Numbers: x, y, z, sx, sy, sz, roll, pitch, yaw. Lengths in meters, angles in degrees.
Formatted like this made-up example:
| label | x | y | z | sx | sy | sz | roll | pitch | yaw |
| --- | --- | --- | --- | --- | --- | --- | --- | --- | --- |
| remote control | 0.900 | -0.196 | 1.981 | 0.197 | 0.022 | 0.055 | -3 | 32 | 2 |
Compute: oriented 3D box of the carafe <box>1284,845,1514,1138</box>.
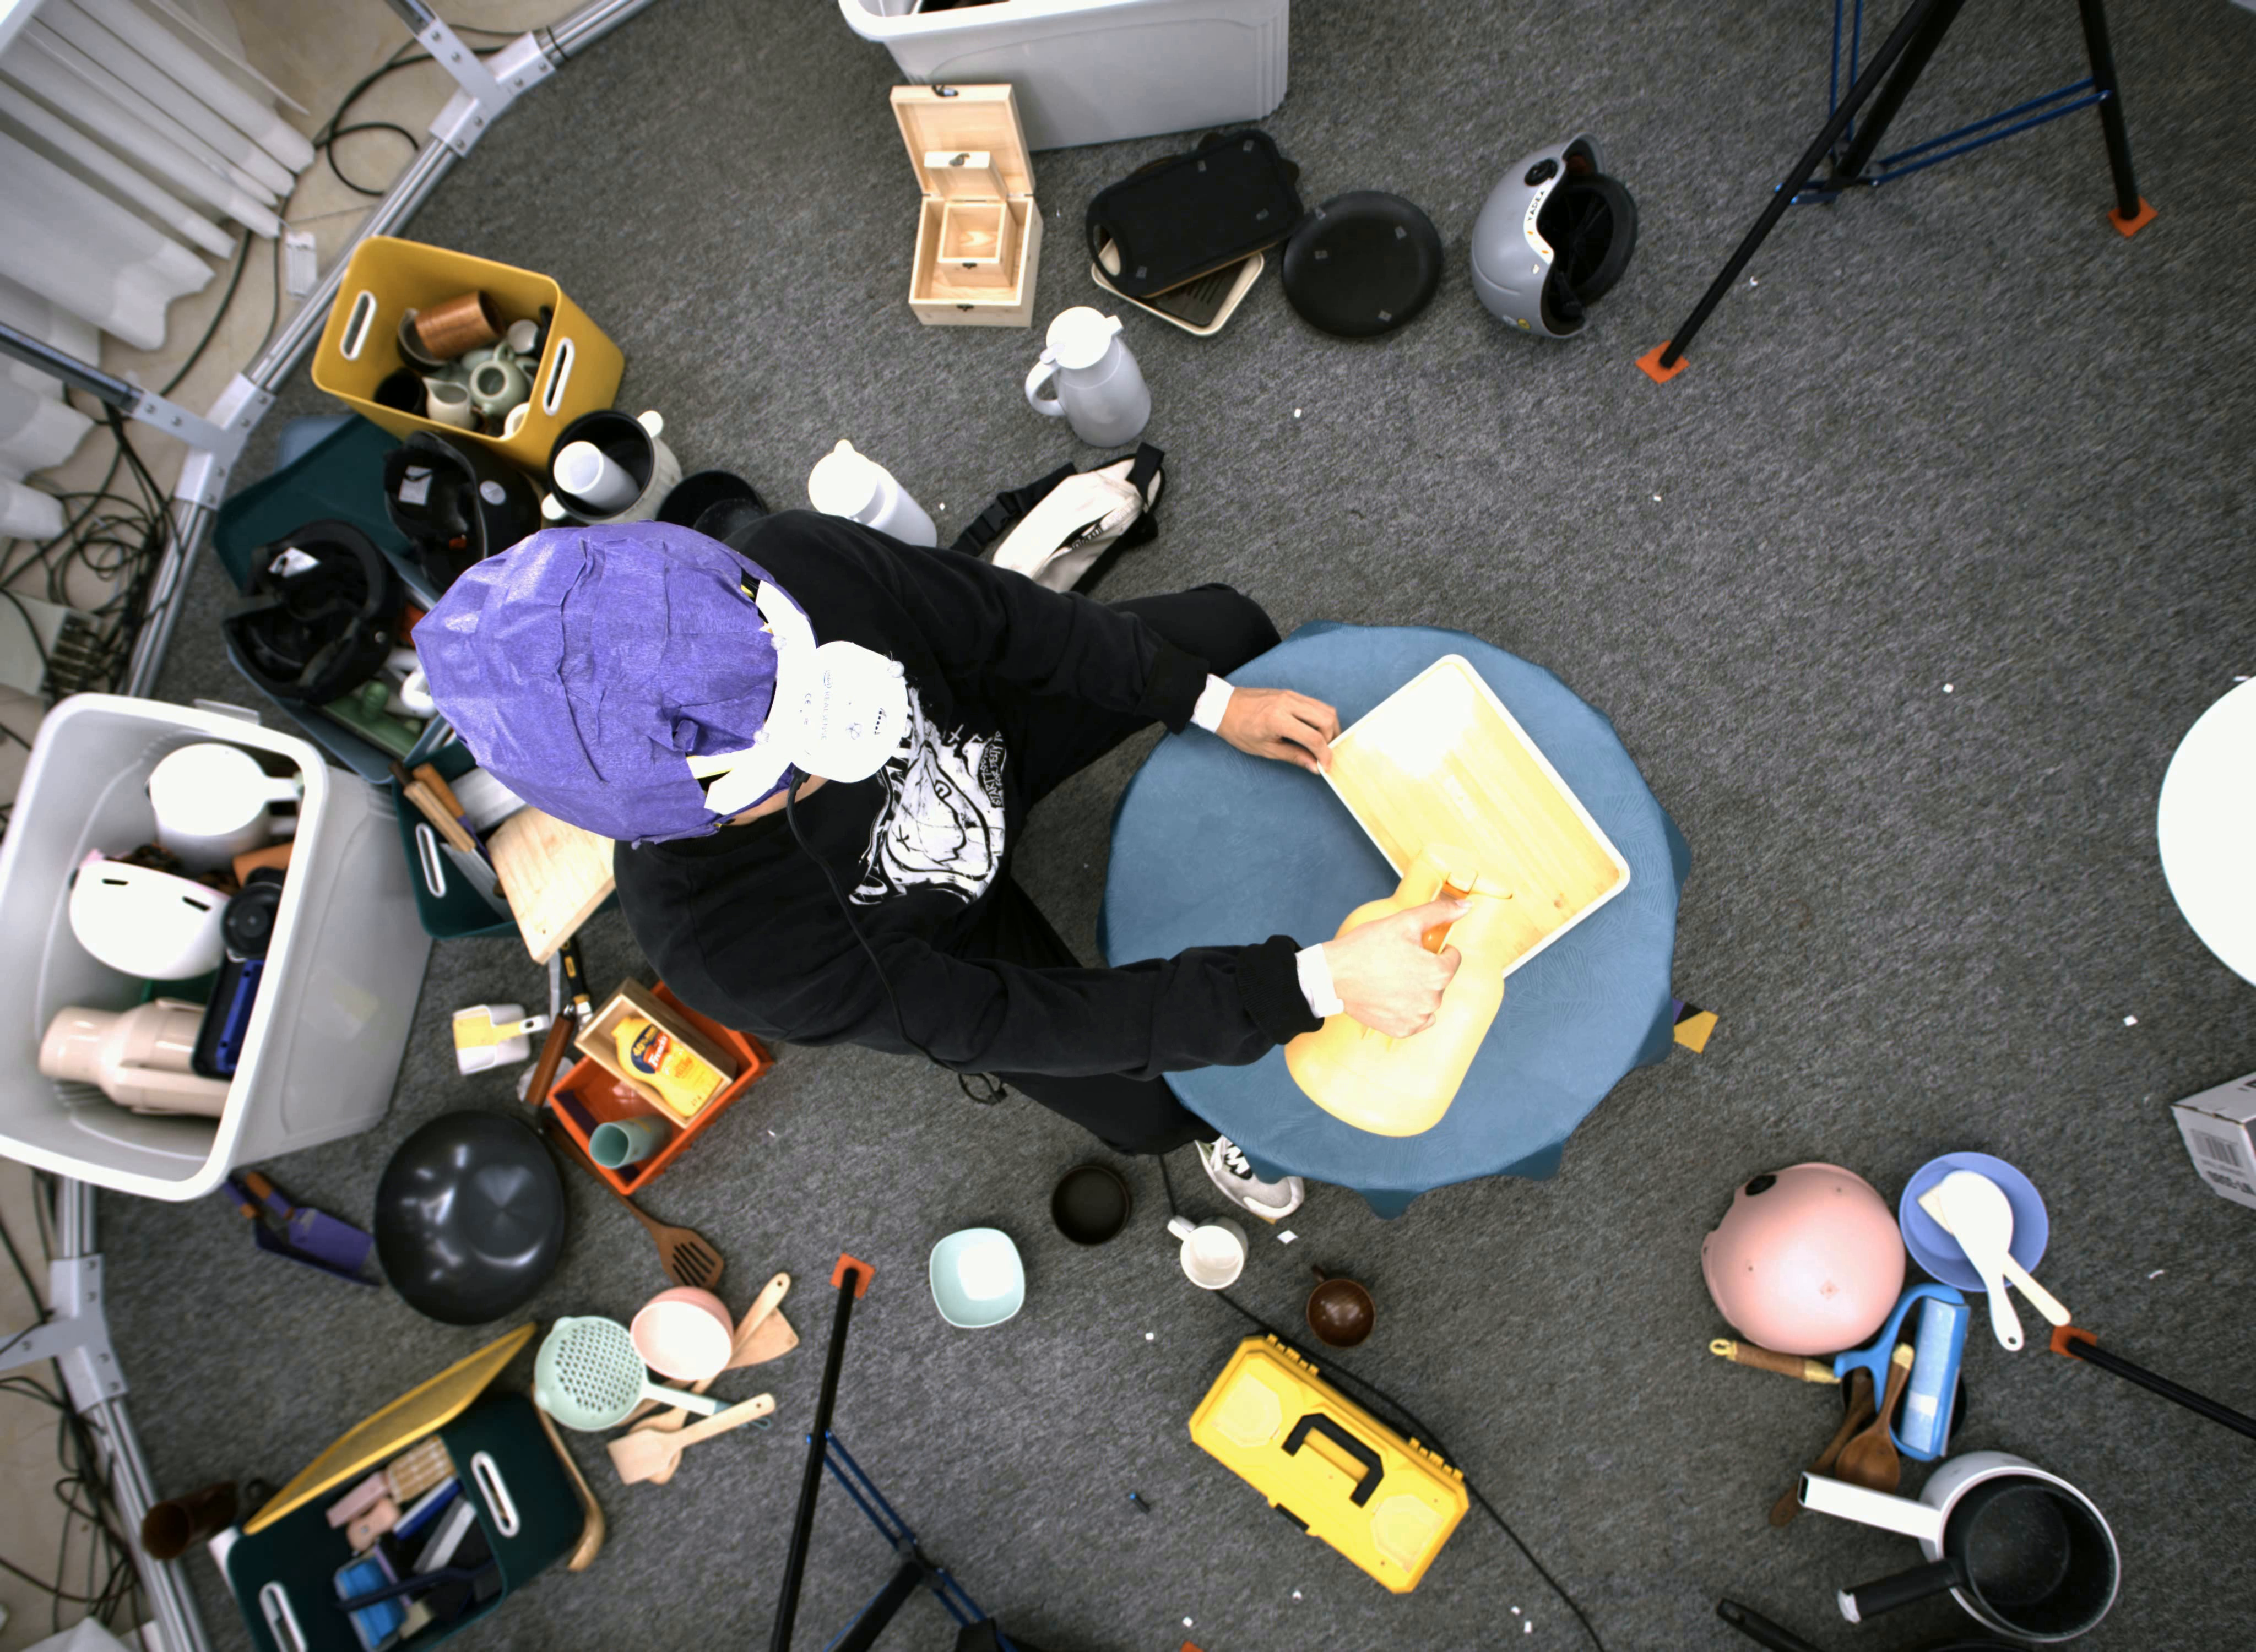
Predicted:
| label | x | y | z | sx | sy | sz | roll | pitch | yaw |
| --- | --- | --- | --- | --- | --- | --- | --- | --- | --- |
| carafe | 0.250 | 0.147 | 1.252 | 0.163 | 0.200 | 0.264 | 27 | 108 | 17 |

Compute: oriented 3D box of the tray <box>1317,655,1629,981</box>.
| label | x | y | z | sx | sy | sz | roll | pitch | yaw |
| --- | --- | --- | --- | --- | --- | --- | --- | --- | --- |
| tray | 0.354 | -0.010 | 1.421 | 0.192 | 0.027 | 0.299 | -37 | 87 | 6 |
